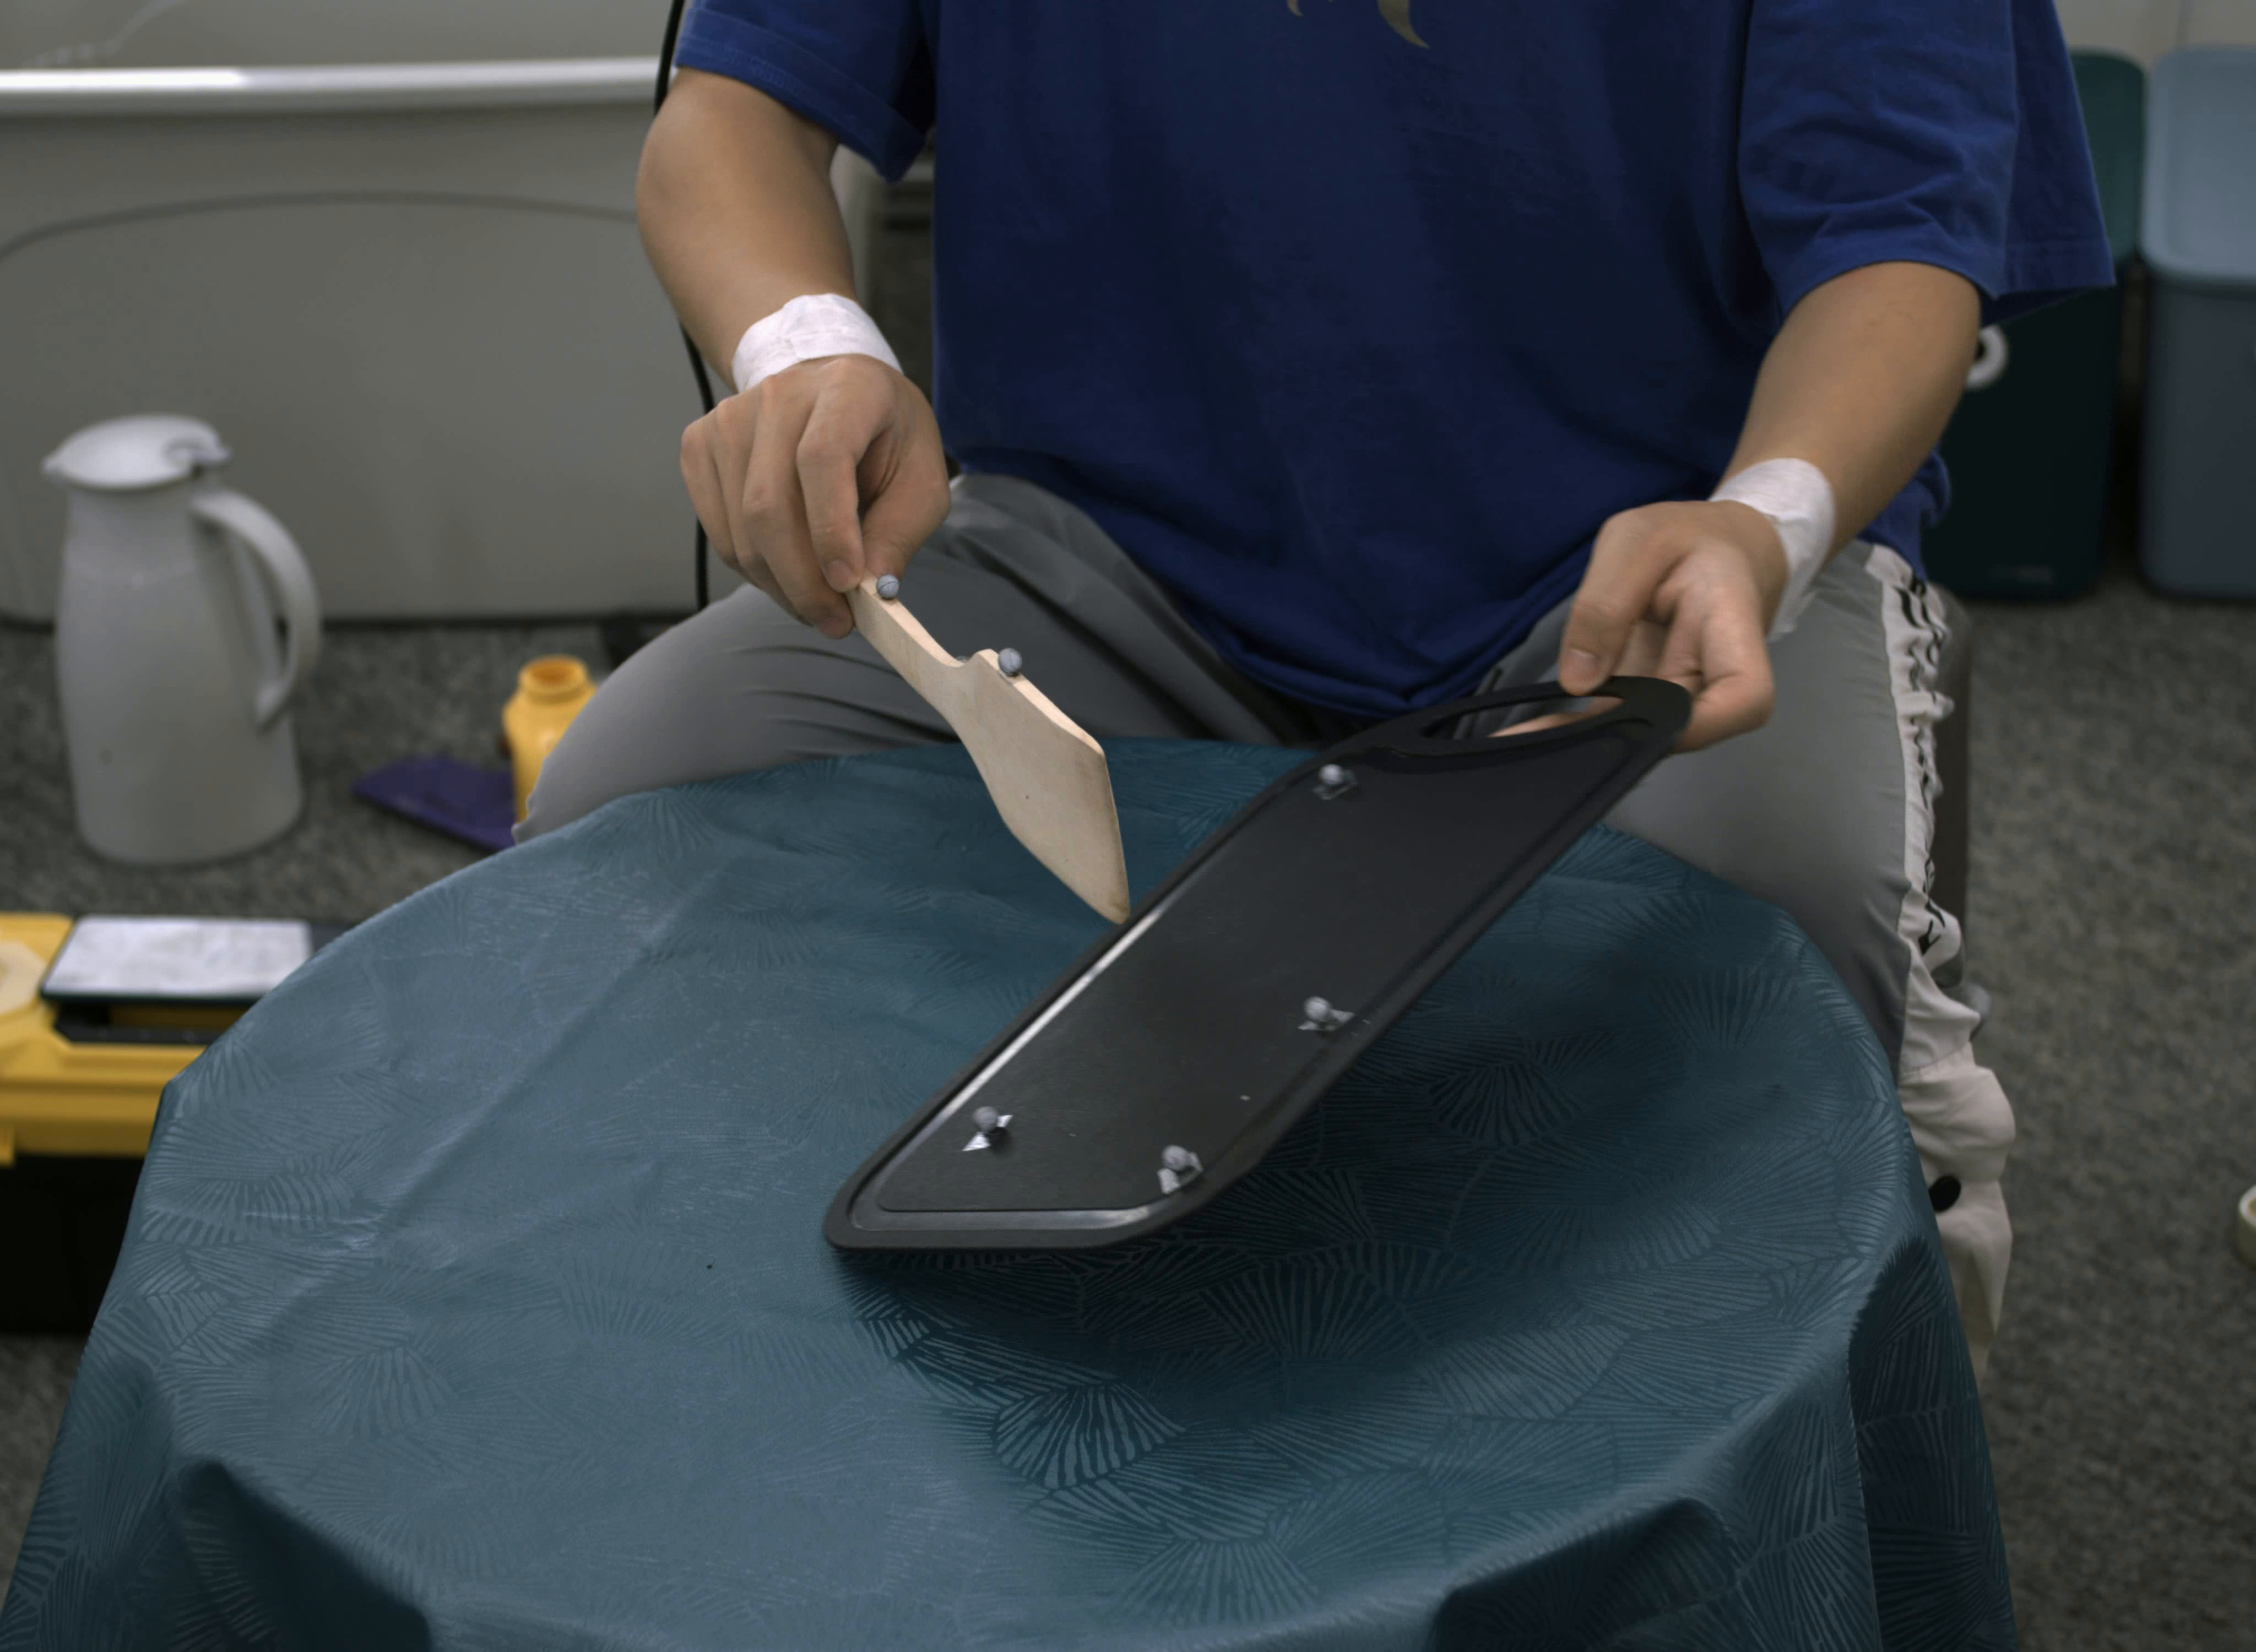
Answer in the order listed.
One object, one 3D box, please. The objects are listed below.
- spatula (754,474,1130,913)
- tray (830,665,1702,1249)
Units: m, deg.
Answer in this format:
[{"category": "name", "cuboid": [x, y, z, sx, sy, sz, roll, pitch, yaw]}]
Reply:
[{"category": "spatula", "cuboid": [-0.071, -0.059, 1.921, 0.011, 0.071, 0.295, -23, 33, -16]}, {"category": "tray", "cuboid": [0.050, 0.038, 1.852, 0.330, 0.010, 0.209, -42, 21, -32]}]
